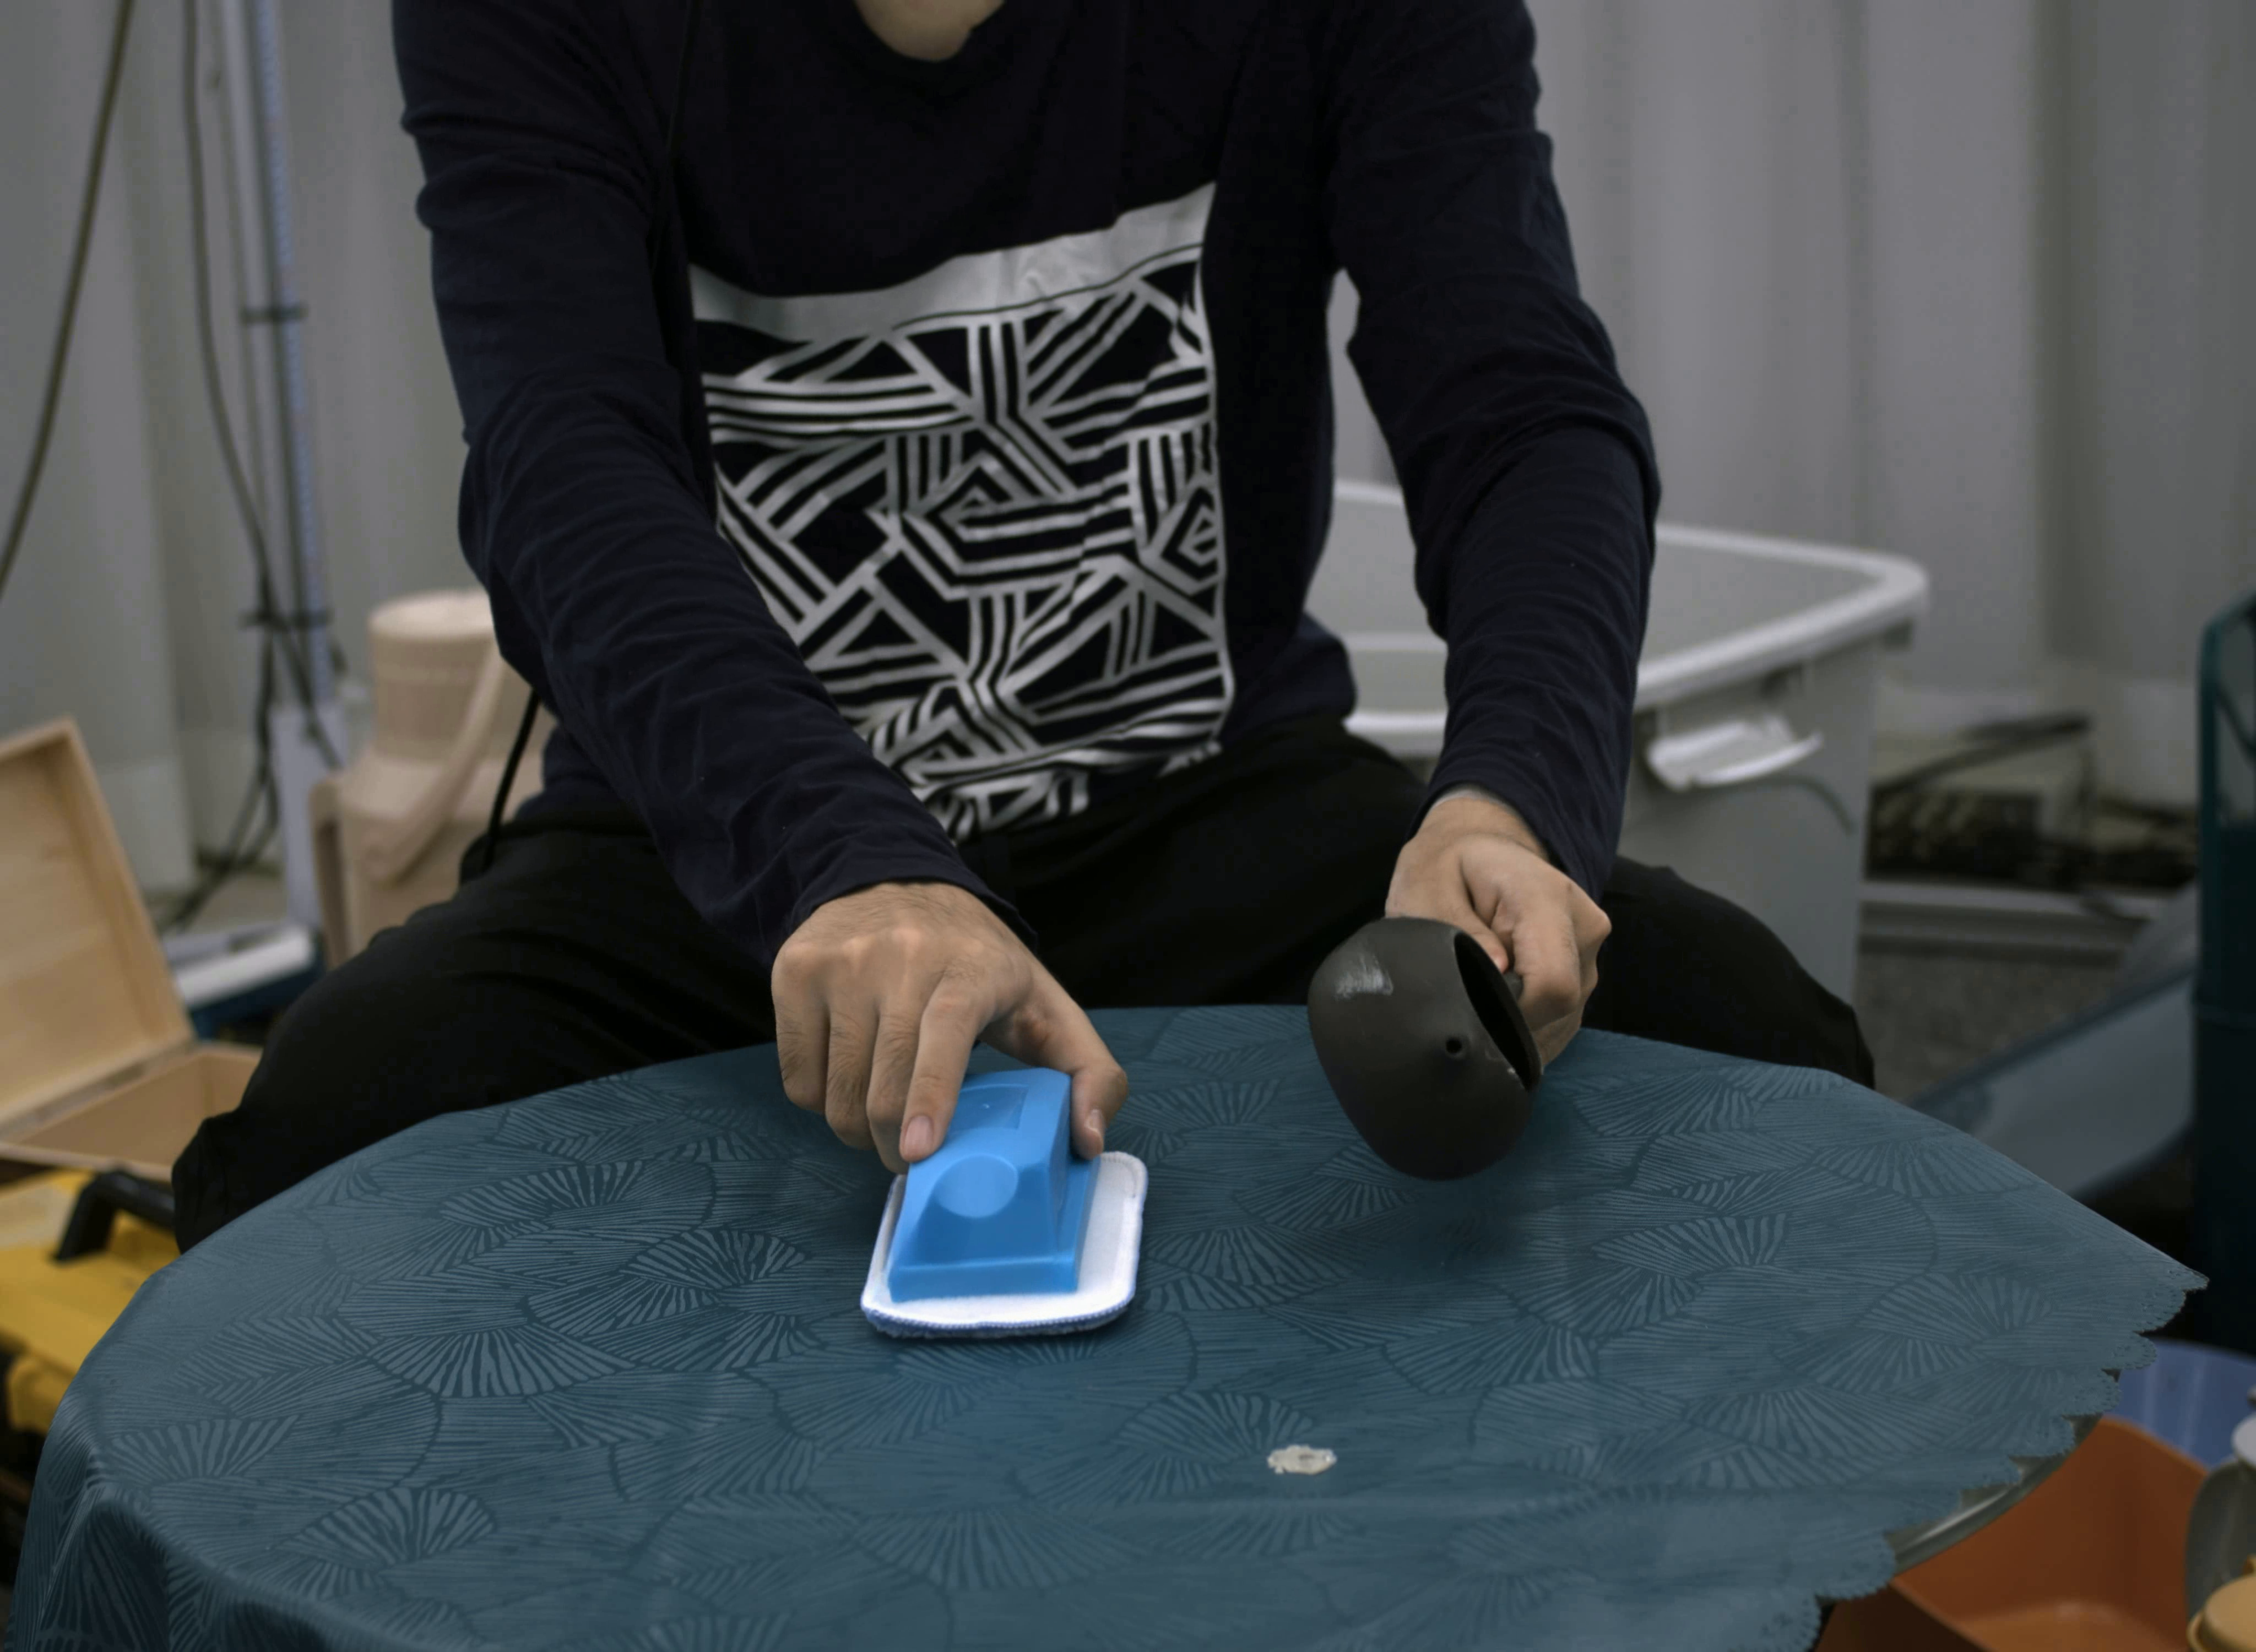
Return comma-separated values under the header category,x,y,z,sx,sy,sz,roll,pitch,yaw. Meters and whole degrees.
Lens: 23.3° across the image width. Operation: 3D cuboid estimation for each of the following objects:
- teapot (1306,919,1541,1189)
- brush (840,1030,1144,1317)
category,x,y,z,sx,sy,sz,roll,pitch,yaw
teapot,0.093,0.066,1.653,0.053,0.083,0.114,-28,-3,20
brush,-0.040,0.102,1.653,0.083,0.055,0.145,1,18,5
